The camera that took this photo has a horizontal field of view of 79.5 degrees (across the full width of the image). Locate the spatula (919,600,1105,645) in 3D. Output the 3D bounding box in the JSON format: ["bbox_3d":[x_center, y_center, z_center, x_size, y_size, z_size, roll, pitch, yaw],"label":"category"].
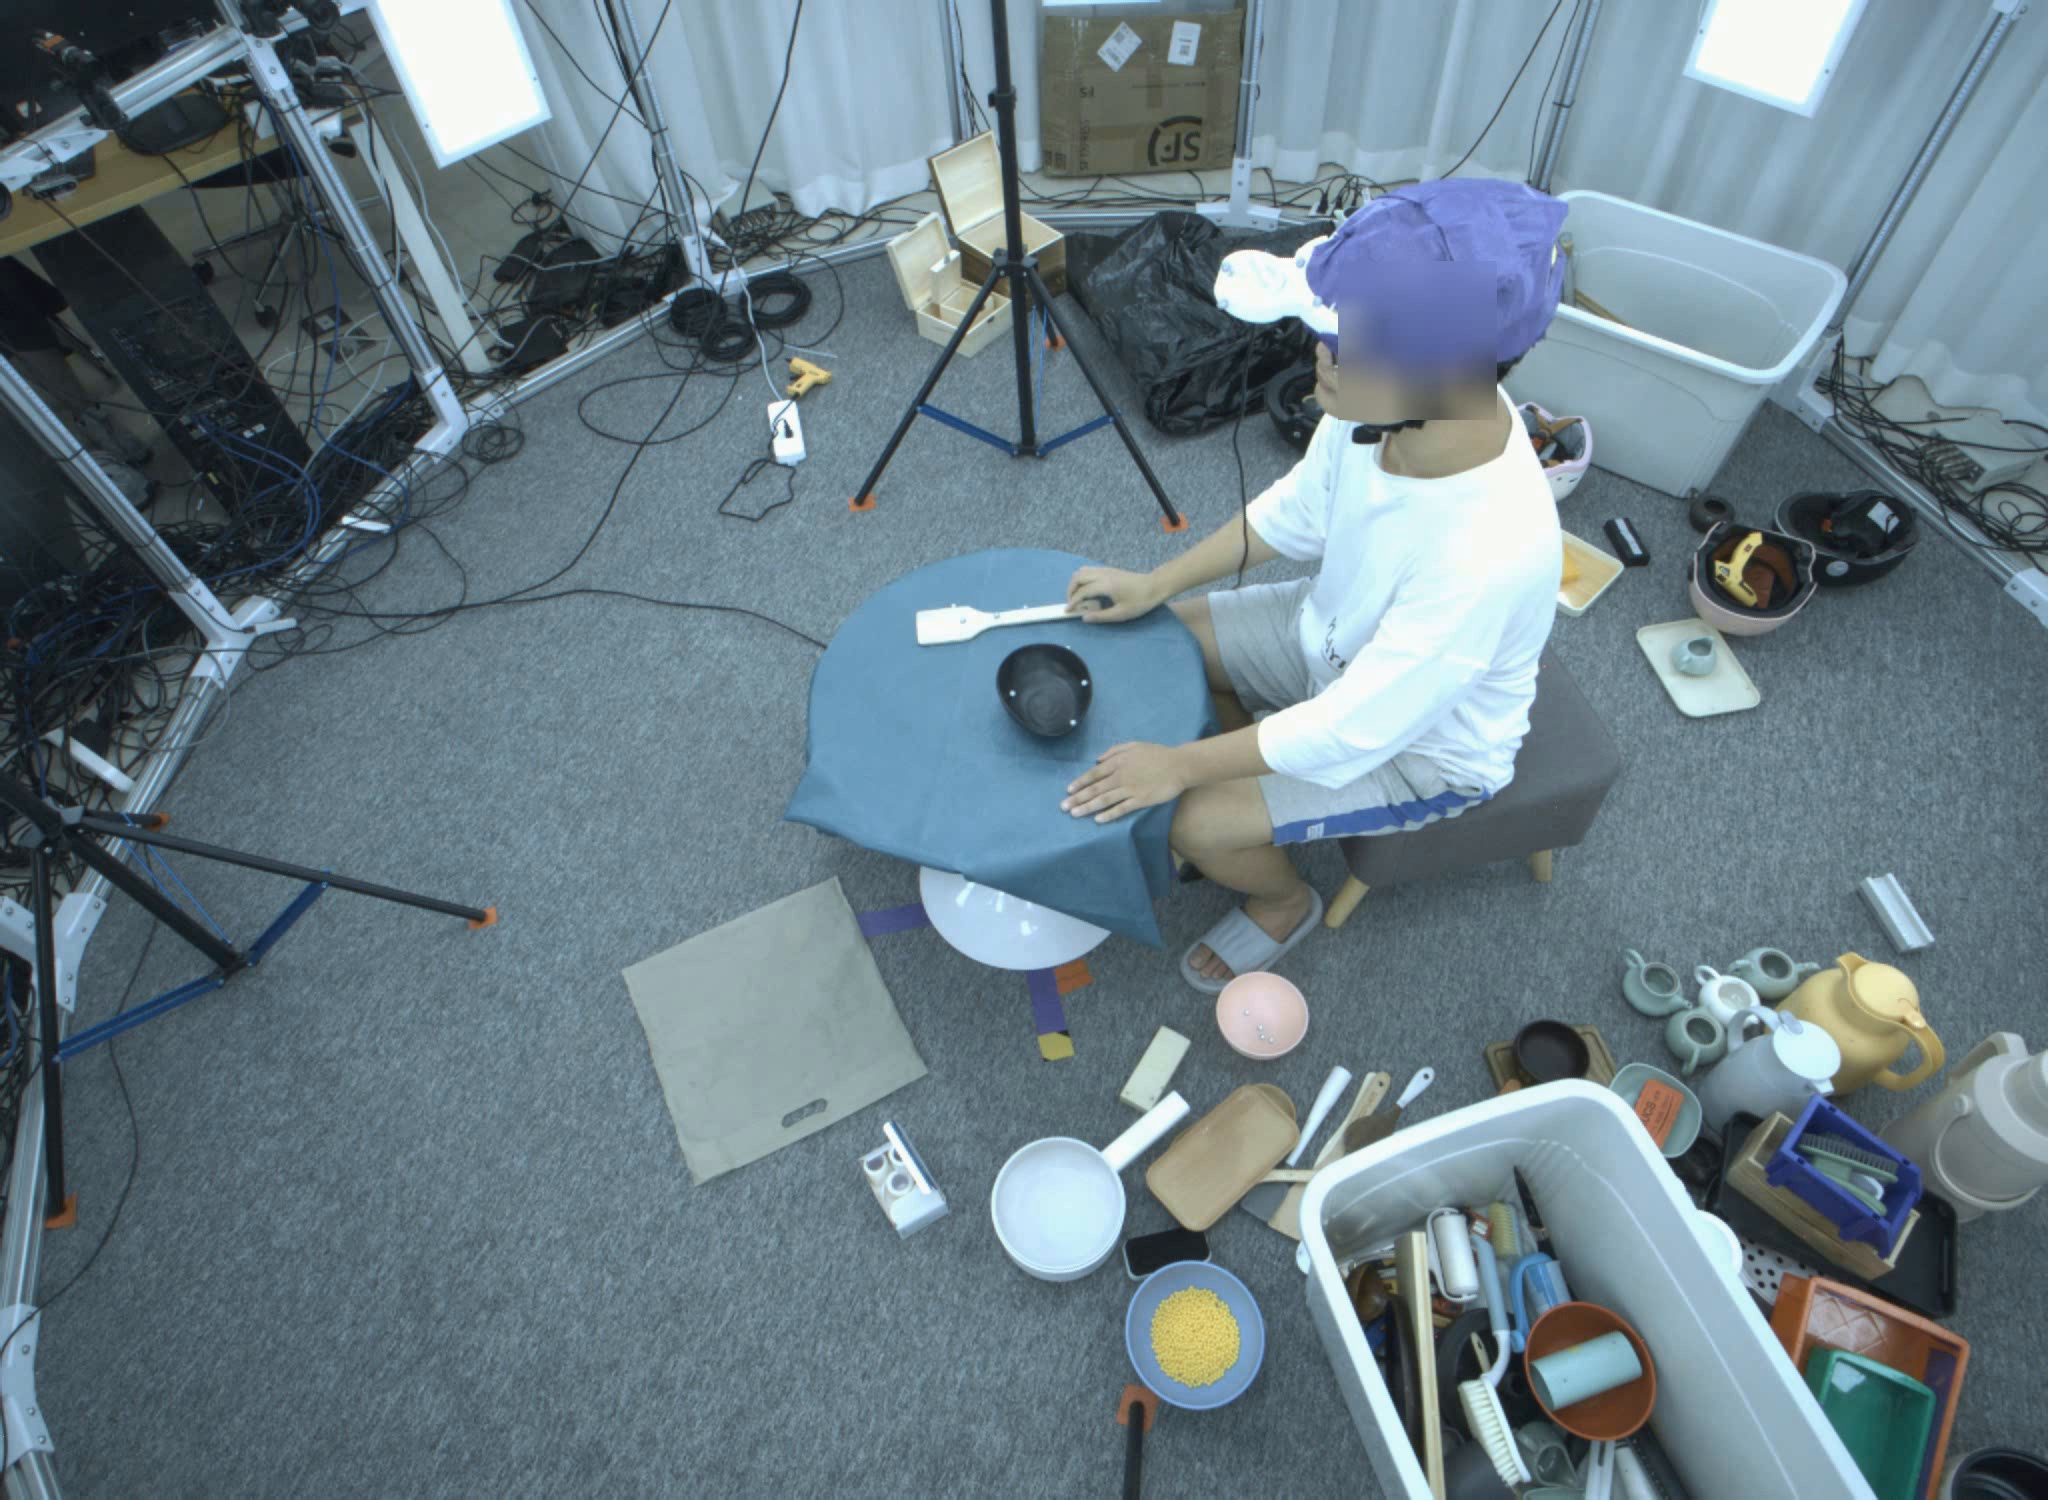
[{"bbox_3d":[-0.019,-0.209,1.927,0.293,0.011,0.071,-7,54,-2],"label":"spatula"}]

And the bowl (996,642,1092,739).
[{"bbox_3d":[0.031,-0.079,1.801,0.138,0.067,0.167,-16,57,-10],"label":"bowl"}]
